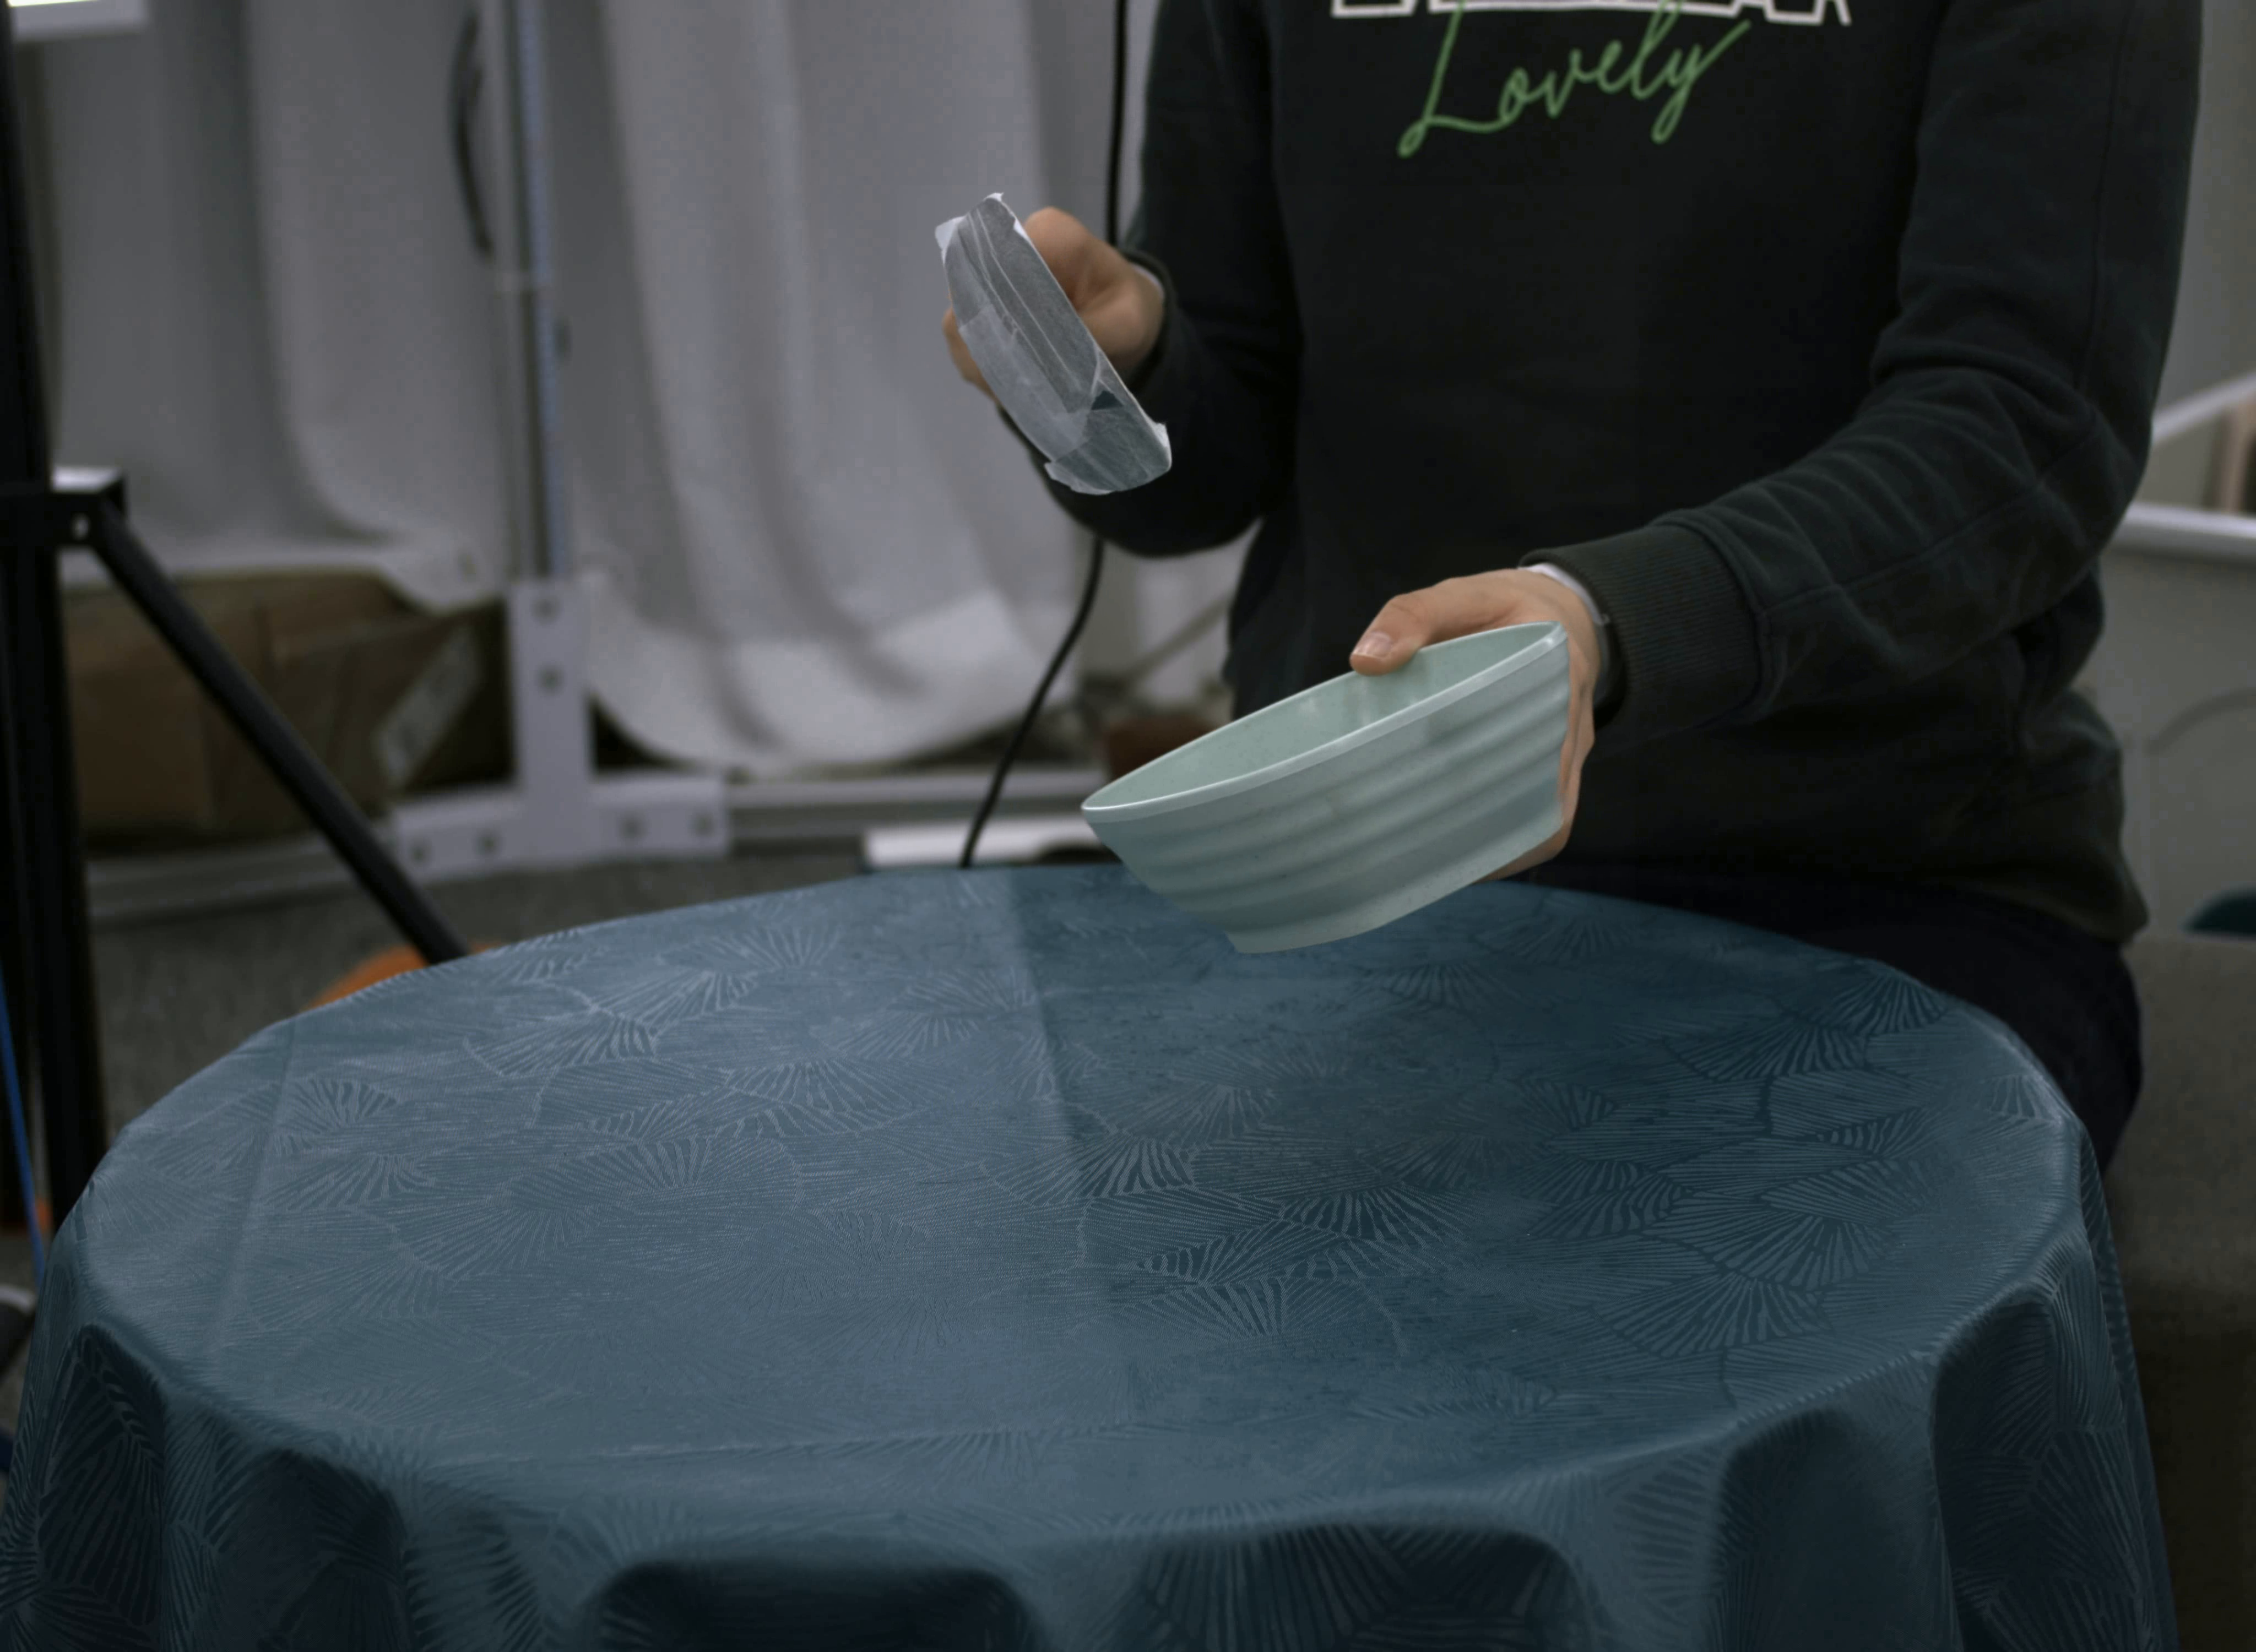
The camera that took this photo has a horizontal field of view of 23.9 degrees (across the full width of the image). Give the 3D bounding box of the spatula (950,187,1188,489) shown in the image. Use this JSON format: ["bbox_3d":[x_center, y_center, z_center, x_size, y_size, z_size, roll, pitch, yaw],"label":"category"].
[{"bbox_3d":[-0.022,-0.151,1.736,0.045,0.099,0.364,-35,3,3],"label":"spatula"}]

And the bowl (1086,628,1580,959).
[{"bbox_3d":[0.067,-0.004,1.536,0.151,0.058,0.152,-21,9,2],"label":"bowl"}]
